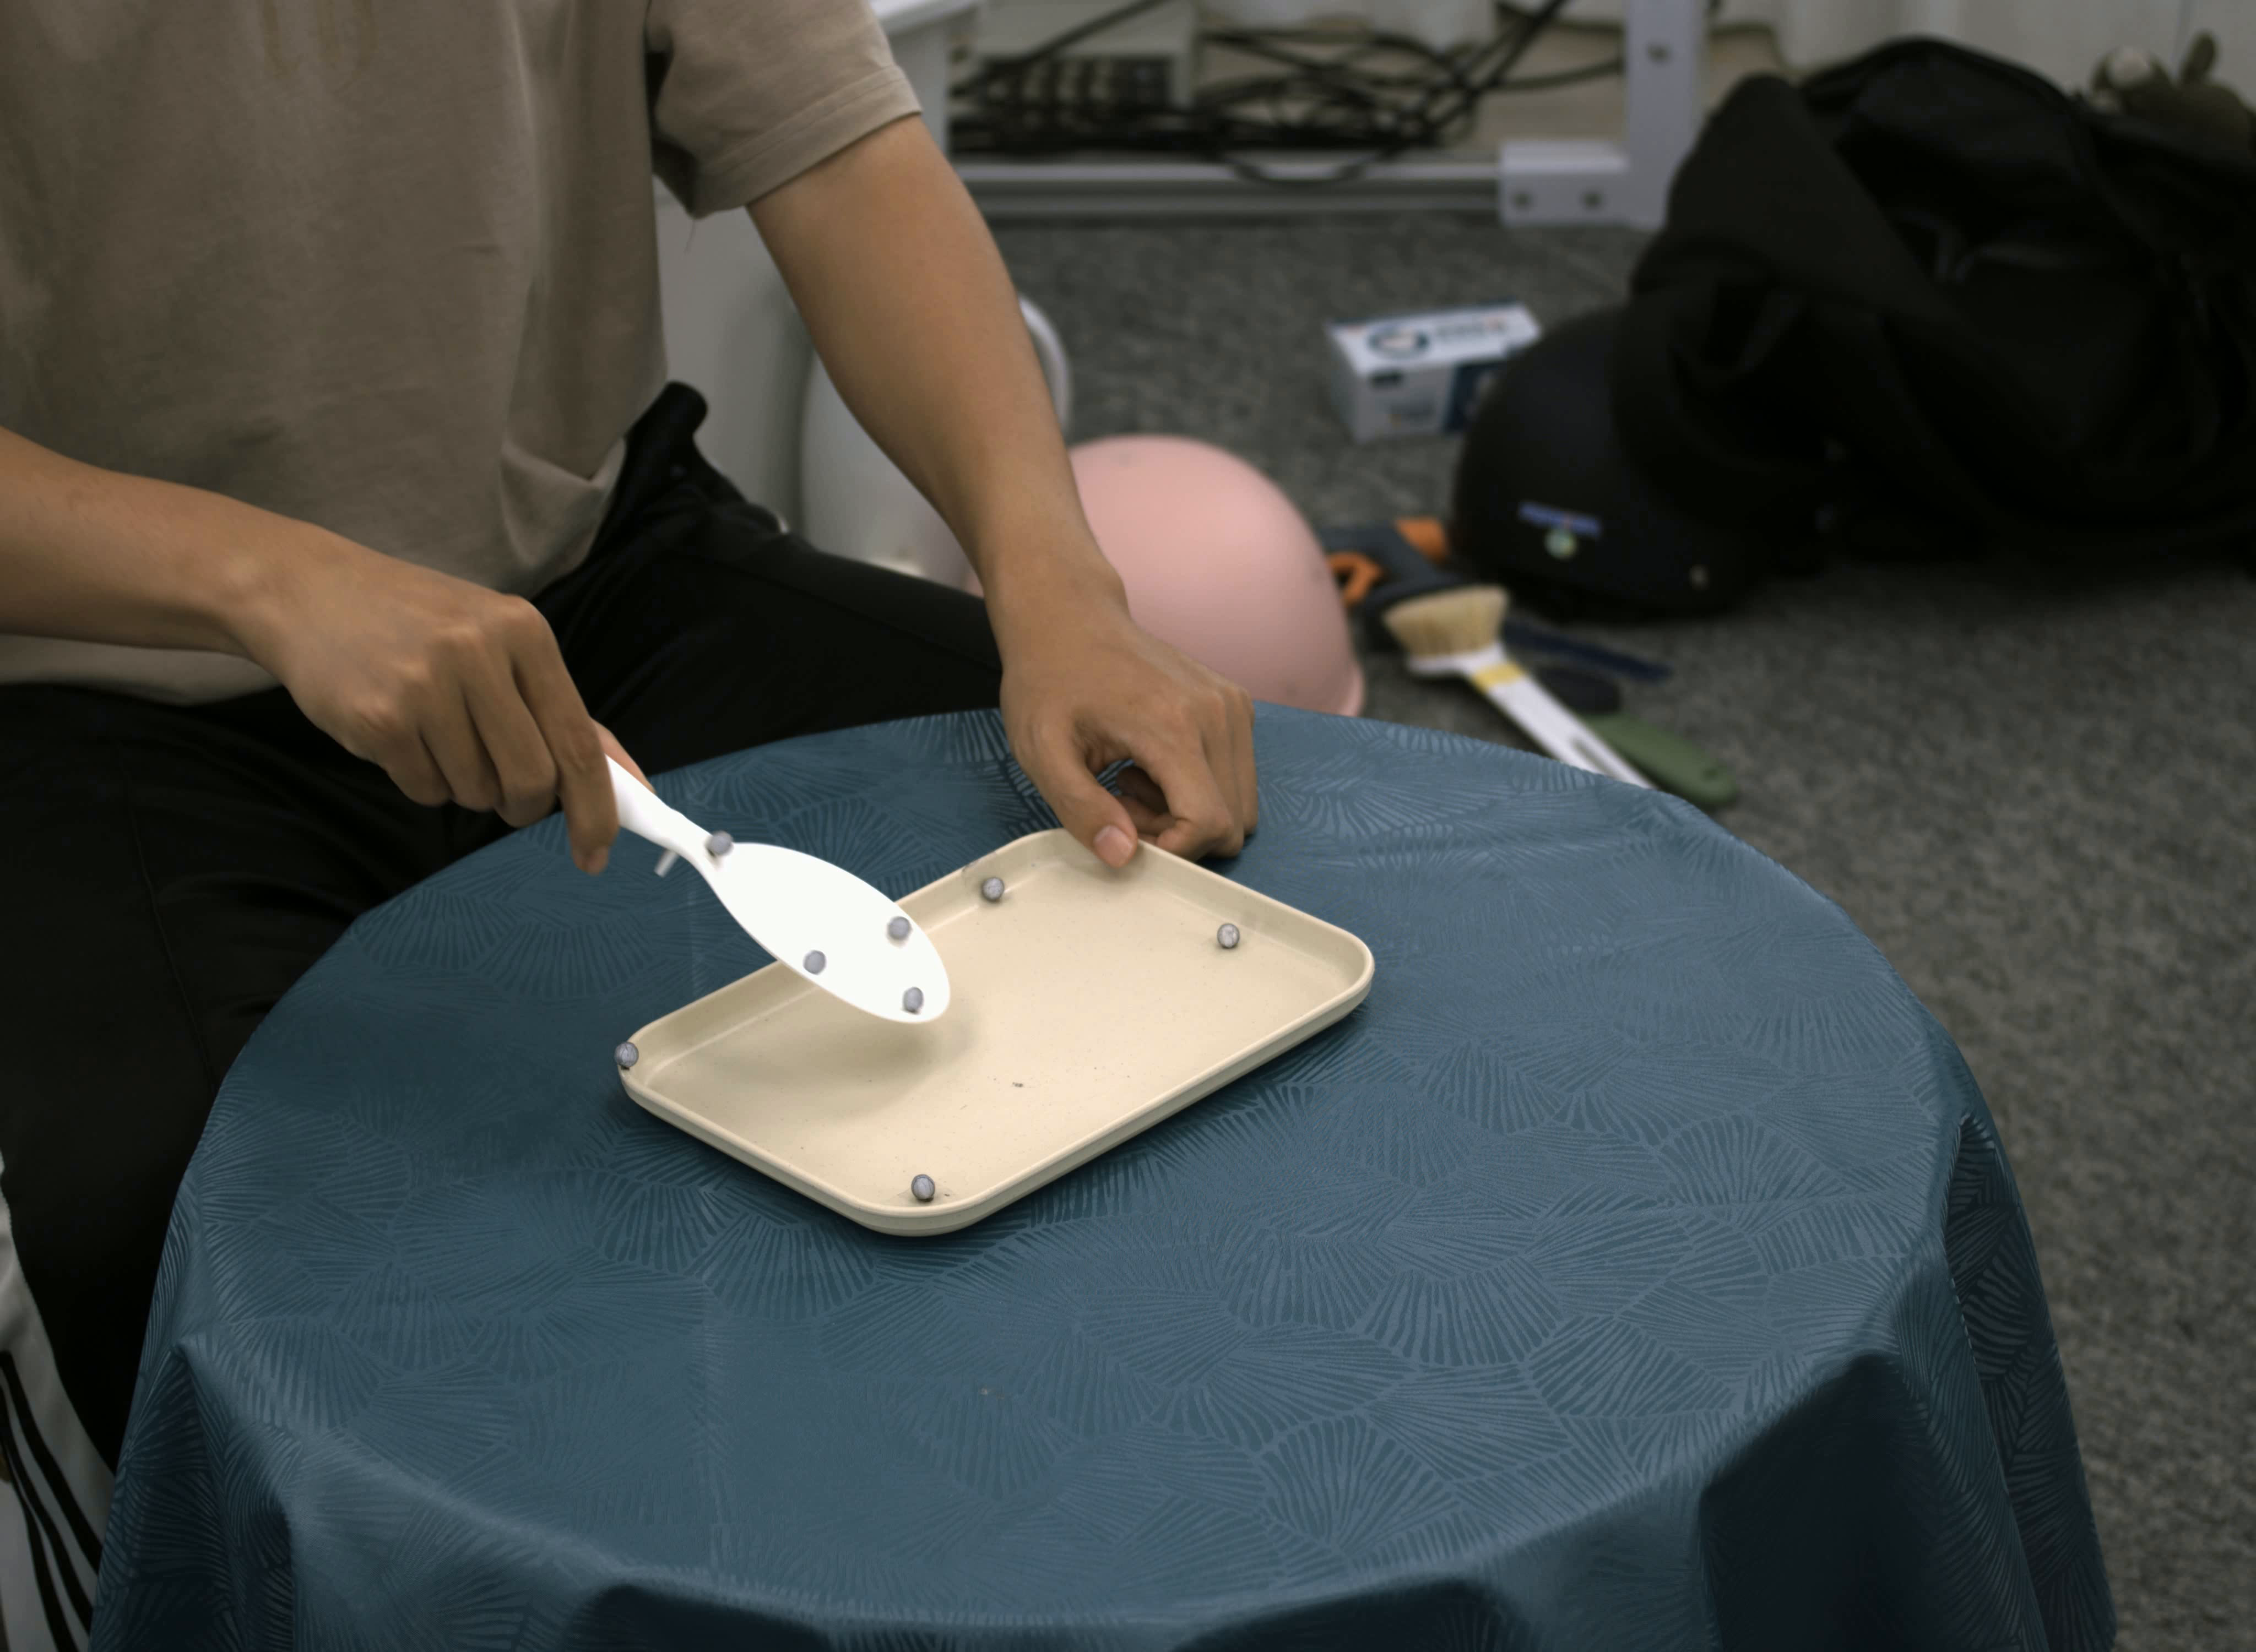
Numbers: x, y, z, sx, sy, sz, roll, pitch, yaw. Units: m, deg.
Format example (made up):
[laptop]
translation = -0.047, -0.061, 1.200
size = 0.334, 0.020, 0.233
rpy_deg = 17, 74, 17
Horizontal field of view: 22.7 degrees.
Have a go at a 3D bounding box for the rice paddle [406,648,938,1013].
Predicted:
[rice paddle]
translation = -0.150, 0.004, 1.914
size = 0.204, 0.029, 0.070
rpy_deg = 31, 30, -11

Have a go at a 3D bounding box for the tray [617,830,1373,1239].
[tray]
translation = -0.044, 0.071, 1.944
size = 0.171, 0.017, 0.242
rpy_deg = 24, 37, 39
